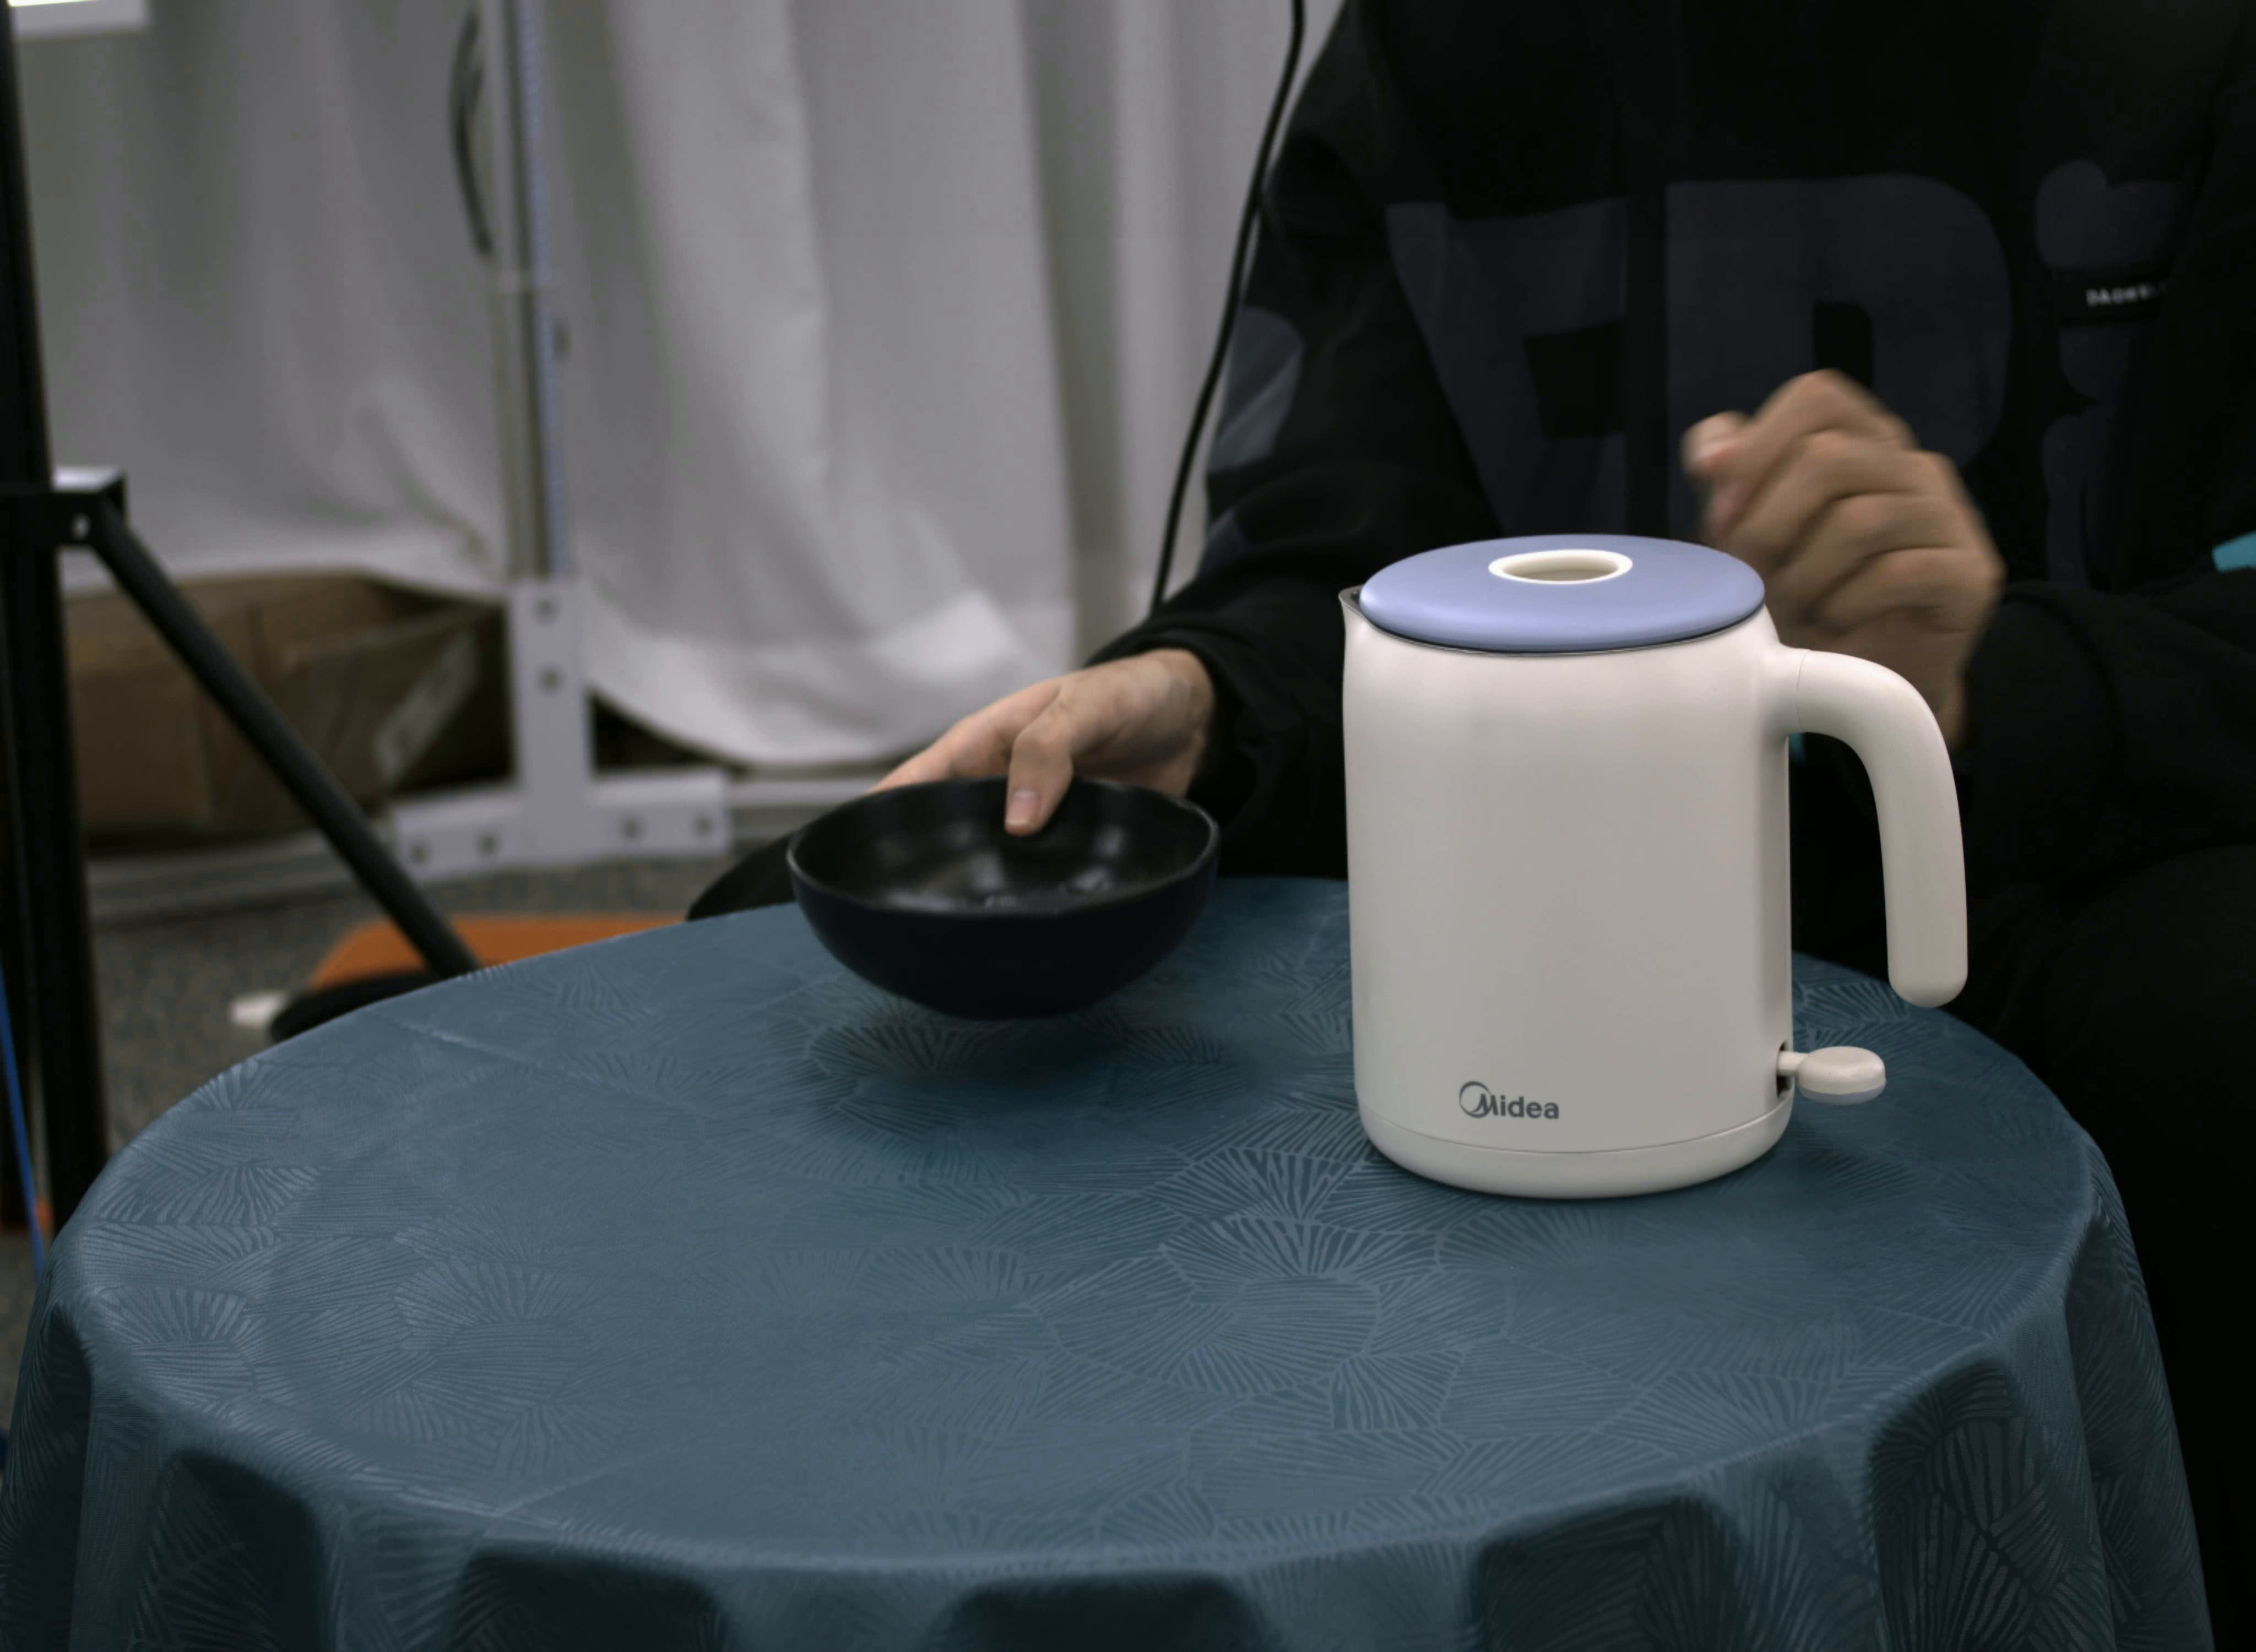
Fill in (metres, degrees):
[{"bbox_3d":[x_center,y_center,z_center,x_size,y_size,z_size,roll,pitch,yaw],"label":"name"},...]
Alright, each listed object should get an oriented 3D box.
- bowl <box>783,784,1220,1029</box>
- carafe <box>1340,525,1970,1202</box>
[{"bbox_3d":[-0.039,0.030,1.687,0.139,0.050,0.141,-2,17,-1],"label":"bowl"},{"bbox_3d":[0.153,0.013,1.555,0.193,0.182,0.130,6,18,21],"label":"carafe"}]
